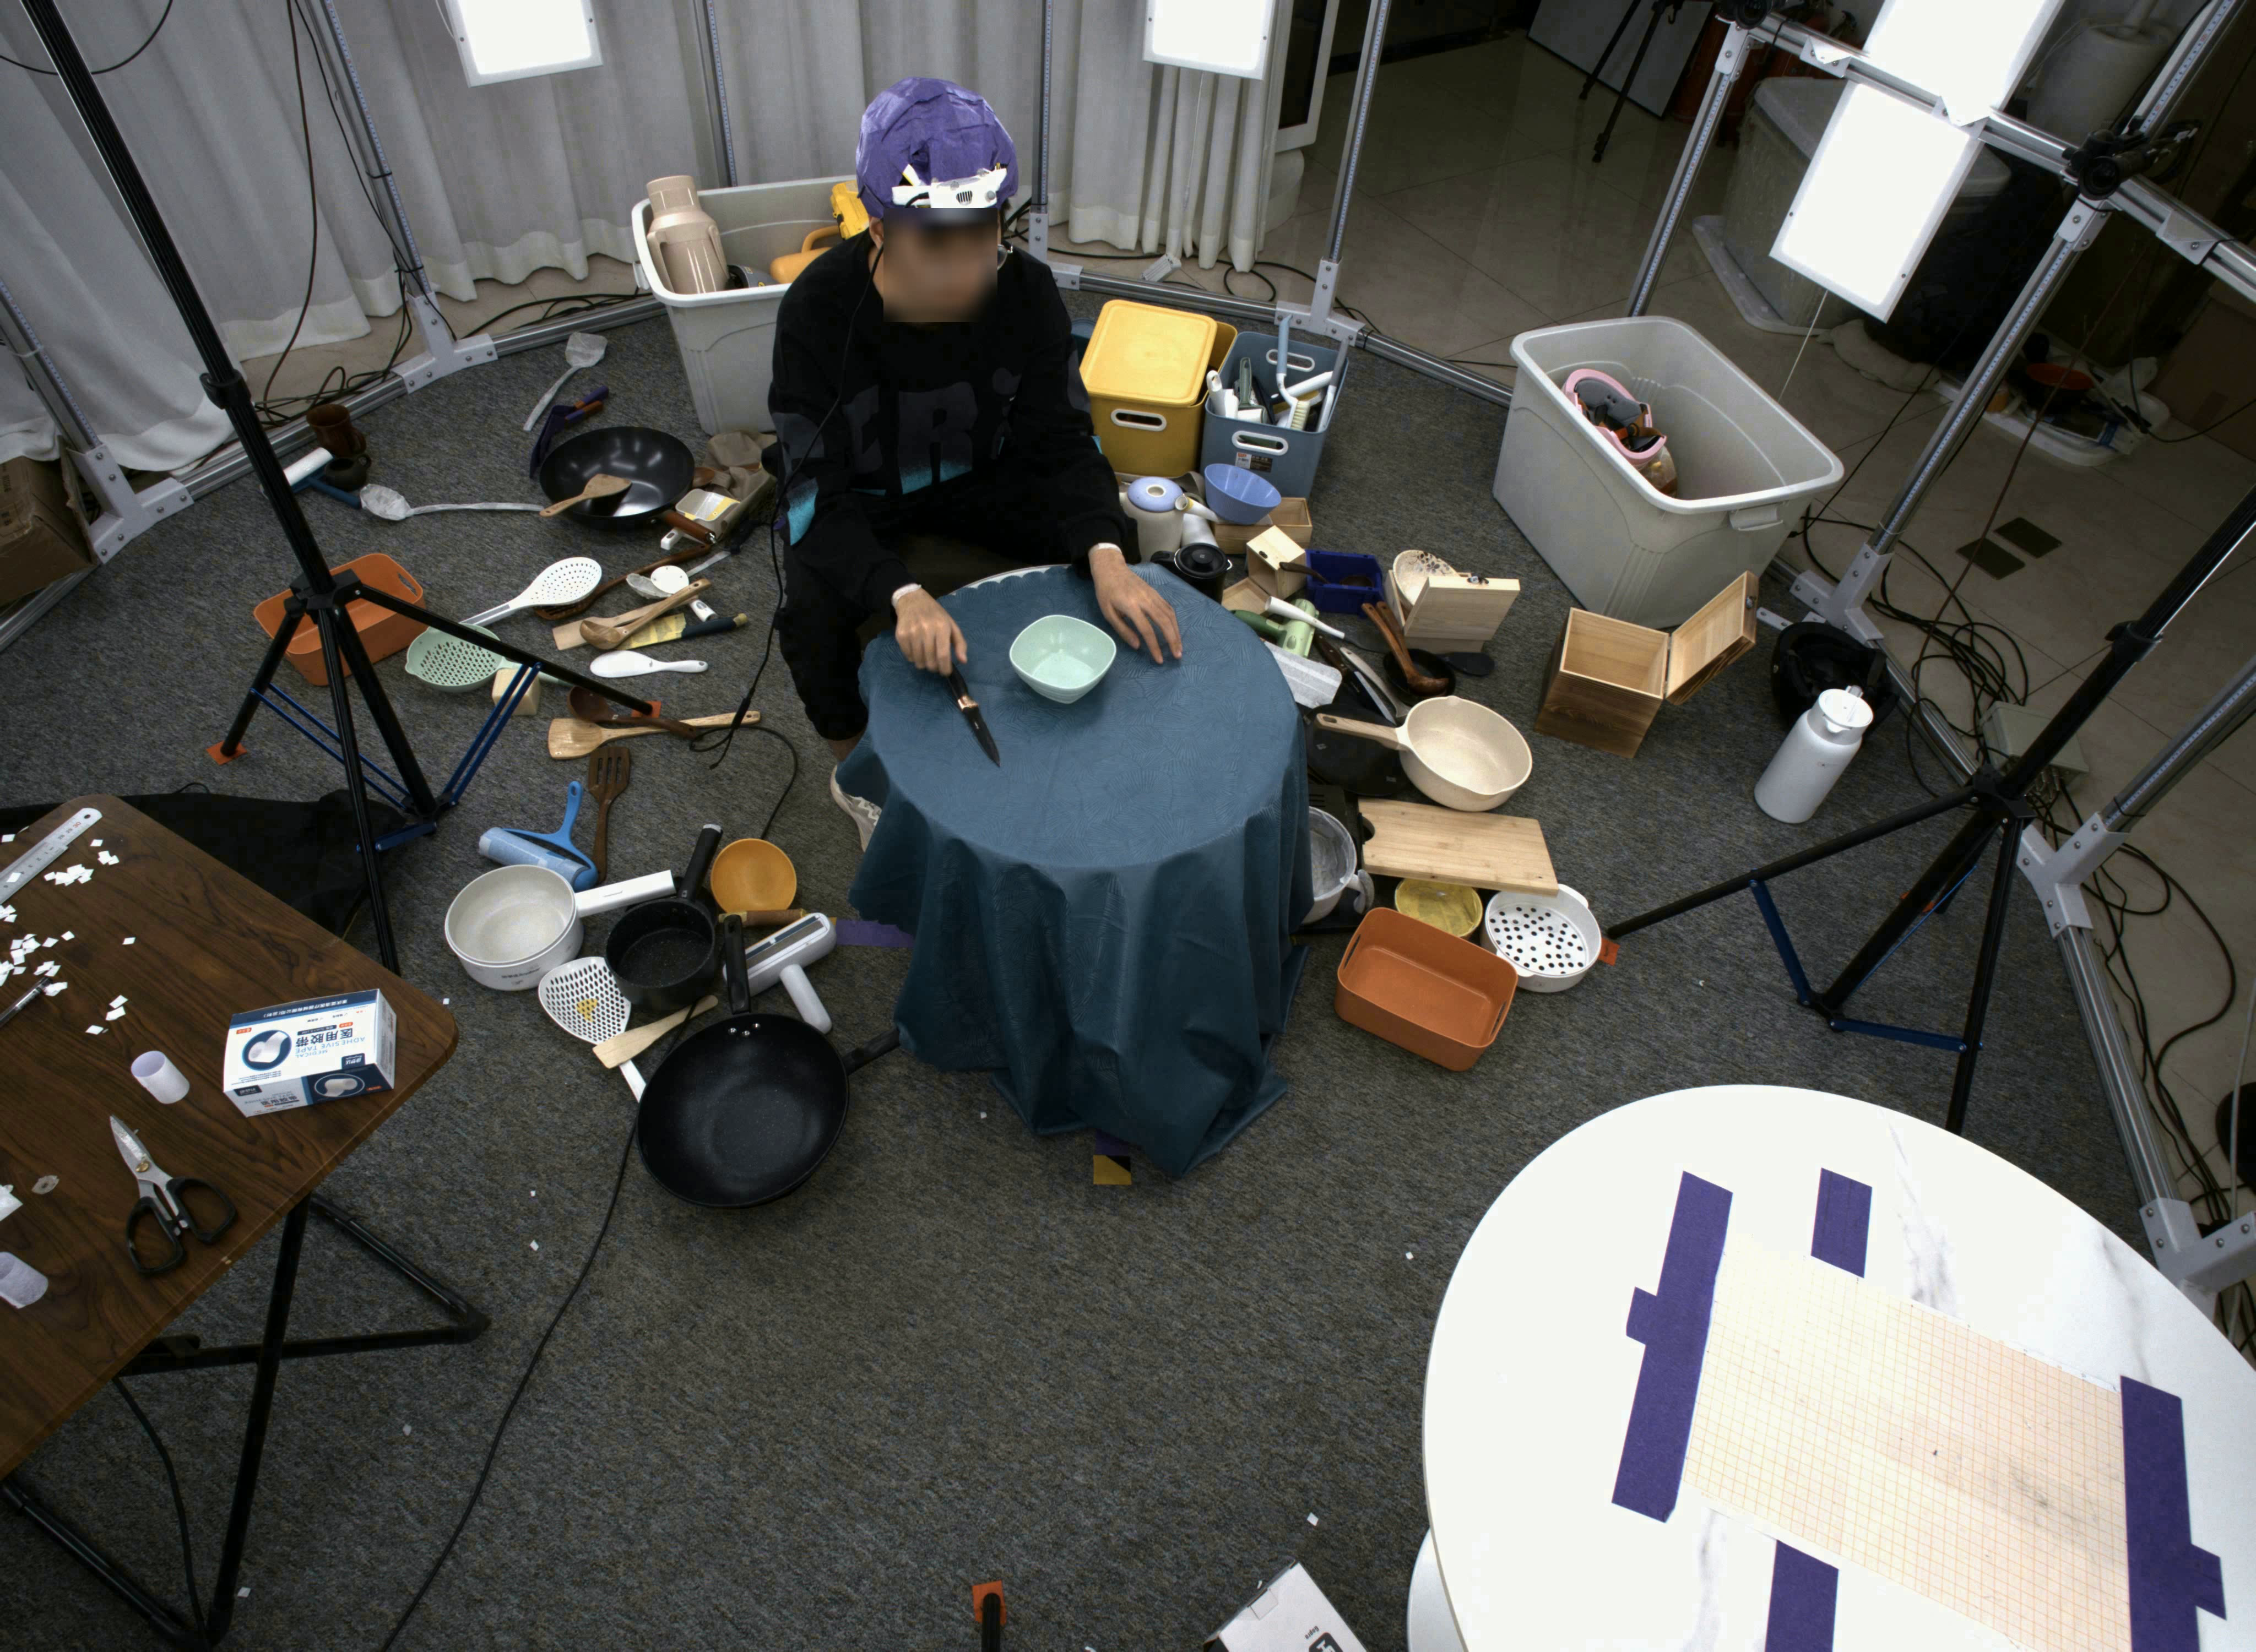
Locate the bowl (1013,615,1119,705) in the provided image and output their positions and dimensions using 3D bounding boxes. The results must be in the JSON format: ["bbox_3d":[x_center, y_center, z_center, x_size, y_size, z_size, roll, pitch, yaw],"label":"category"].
[{"bbox_3d":[-0.088,-0.227,1.825,0.151,0.057,0.155,1,50,-2],"label":"bowl"}]

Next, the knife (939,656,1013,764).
[{"bbox_3d":[-0.212,-0.162,1.787,0.026,0.017,0.230,-20,54,-17],"label":"knife"}]
